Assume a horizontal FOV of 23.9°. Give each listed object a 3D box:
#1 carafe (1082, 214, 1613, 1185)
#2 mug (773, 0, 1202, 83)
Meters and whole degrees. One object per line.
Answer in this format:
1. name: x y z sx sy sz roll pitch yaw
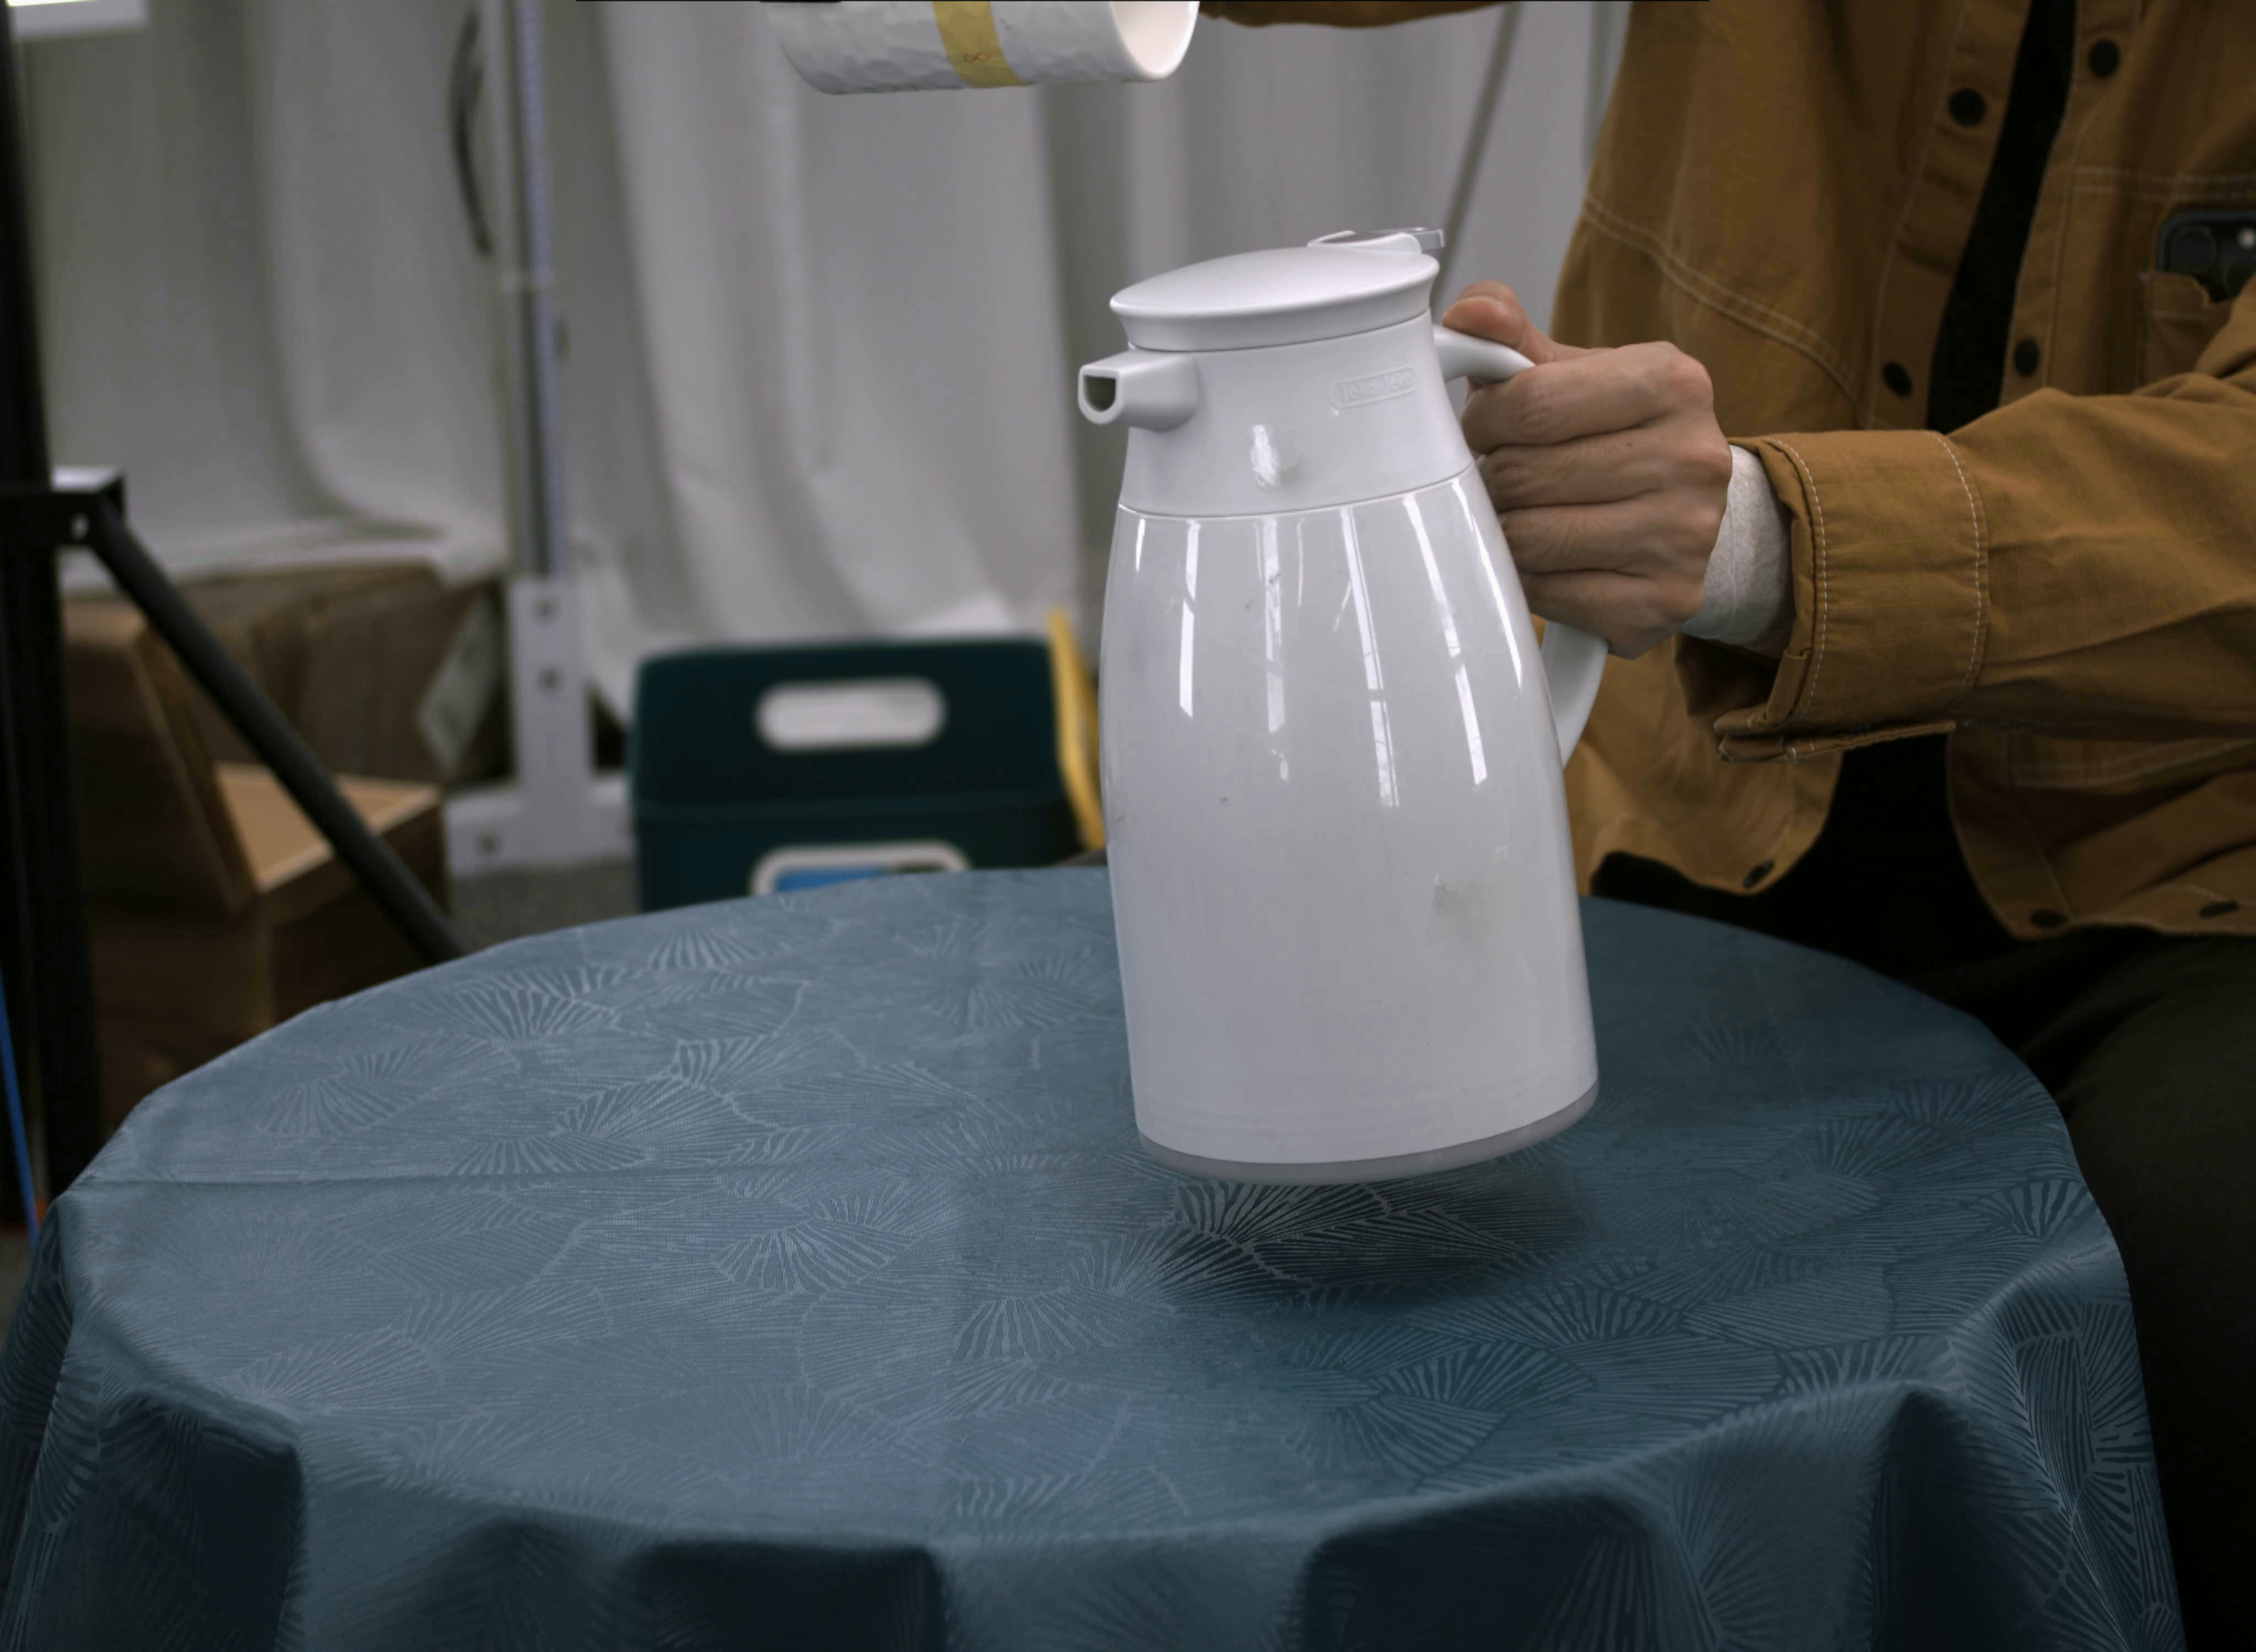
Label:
1. carafe: 0.069 -0.042 1.487 0.164 0.249 0.135 -15 14 -33
2. mug: -0.034 -0.255 1.470 0.103 0.084 0.118 0 33 21
